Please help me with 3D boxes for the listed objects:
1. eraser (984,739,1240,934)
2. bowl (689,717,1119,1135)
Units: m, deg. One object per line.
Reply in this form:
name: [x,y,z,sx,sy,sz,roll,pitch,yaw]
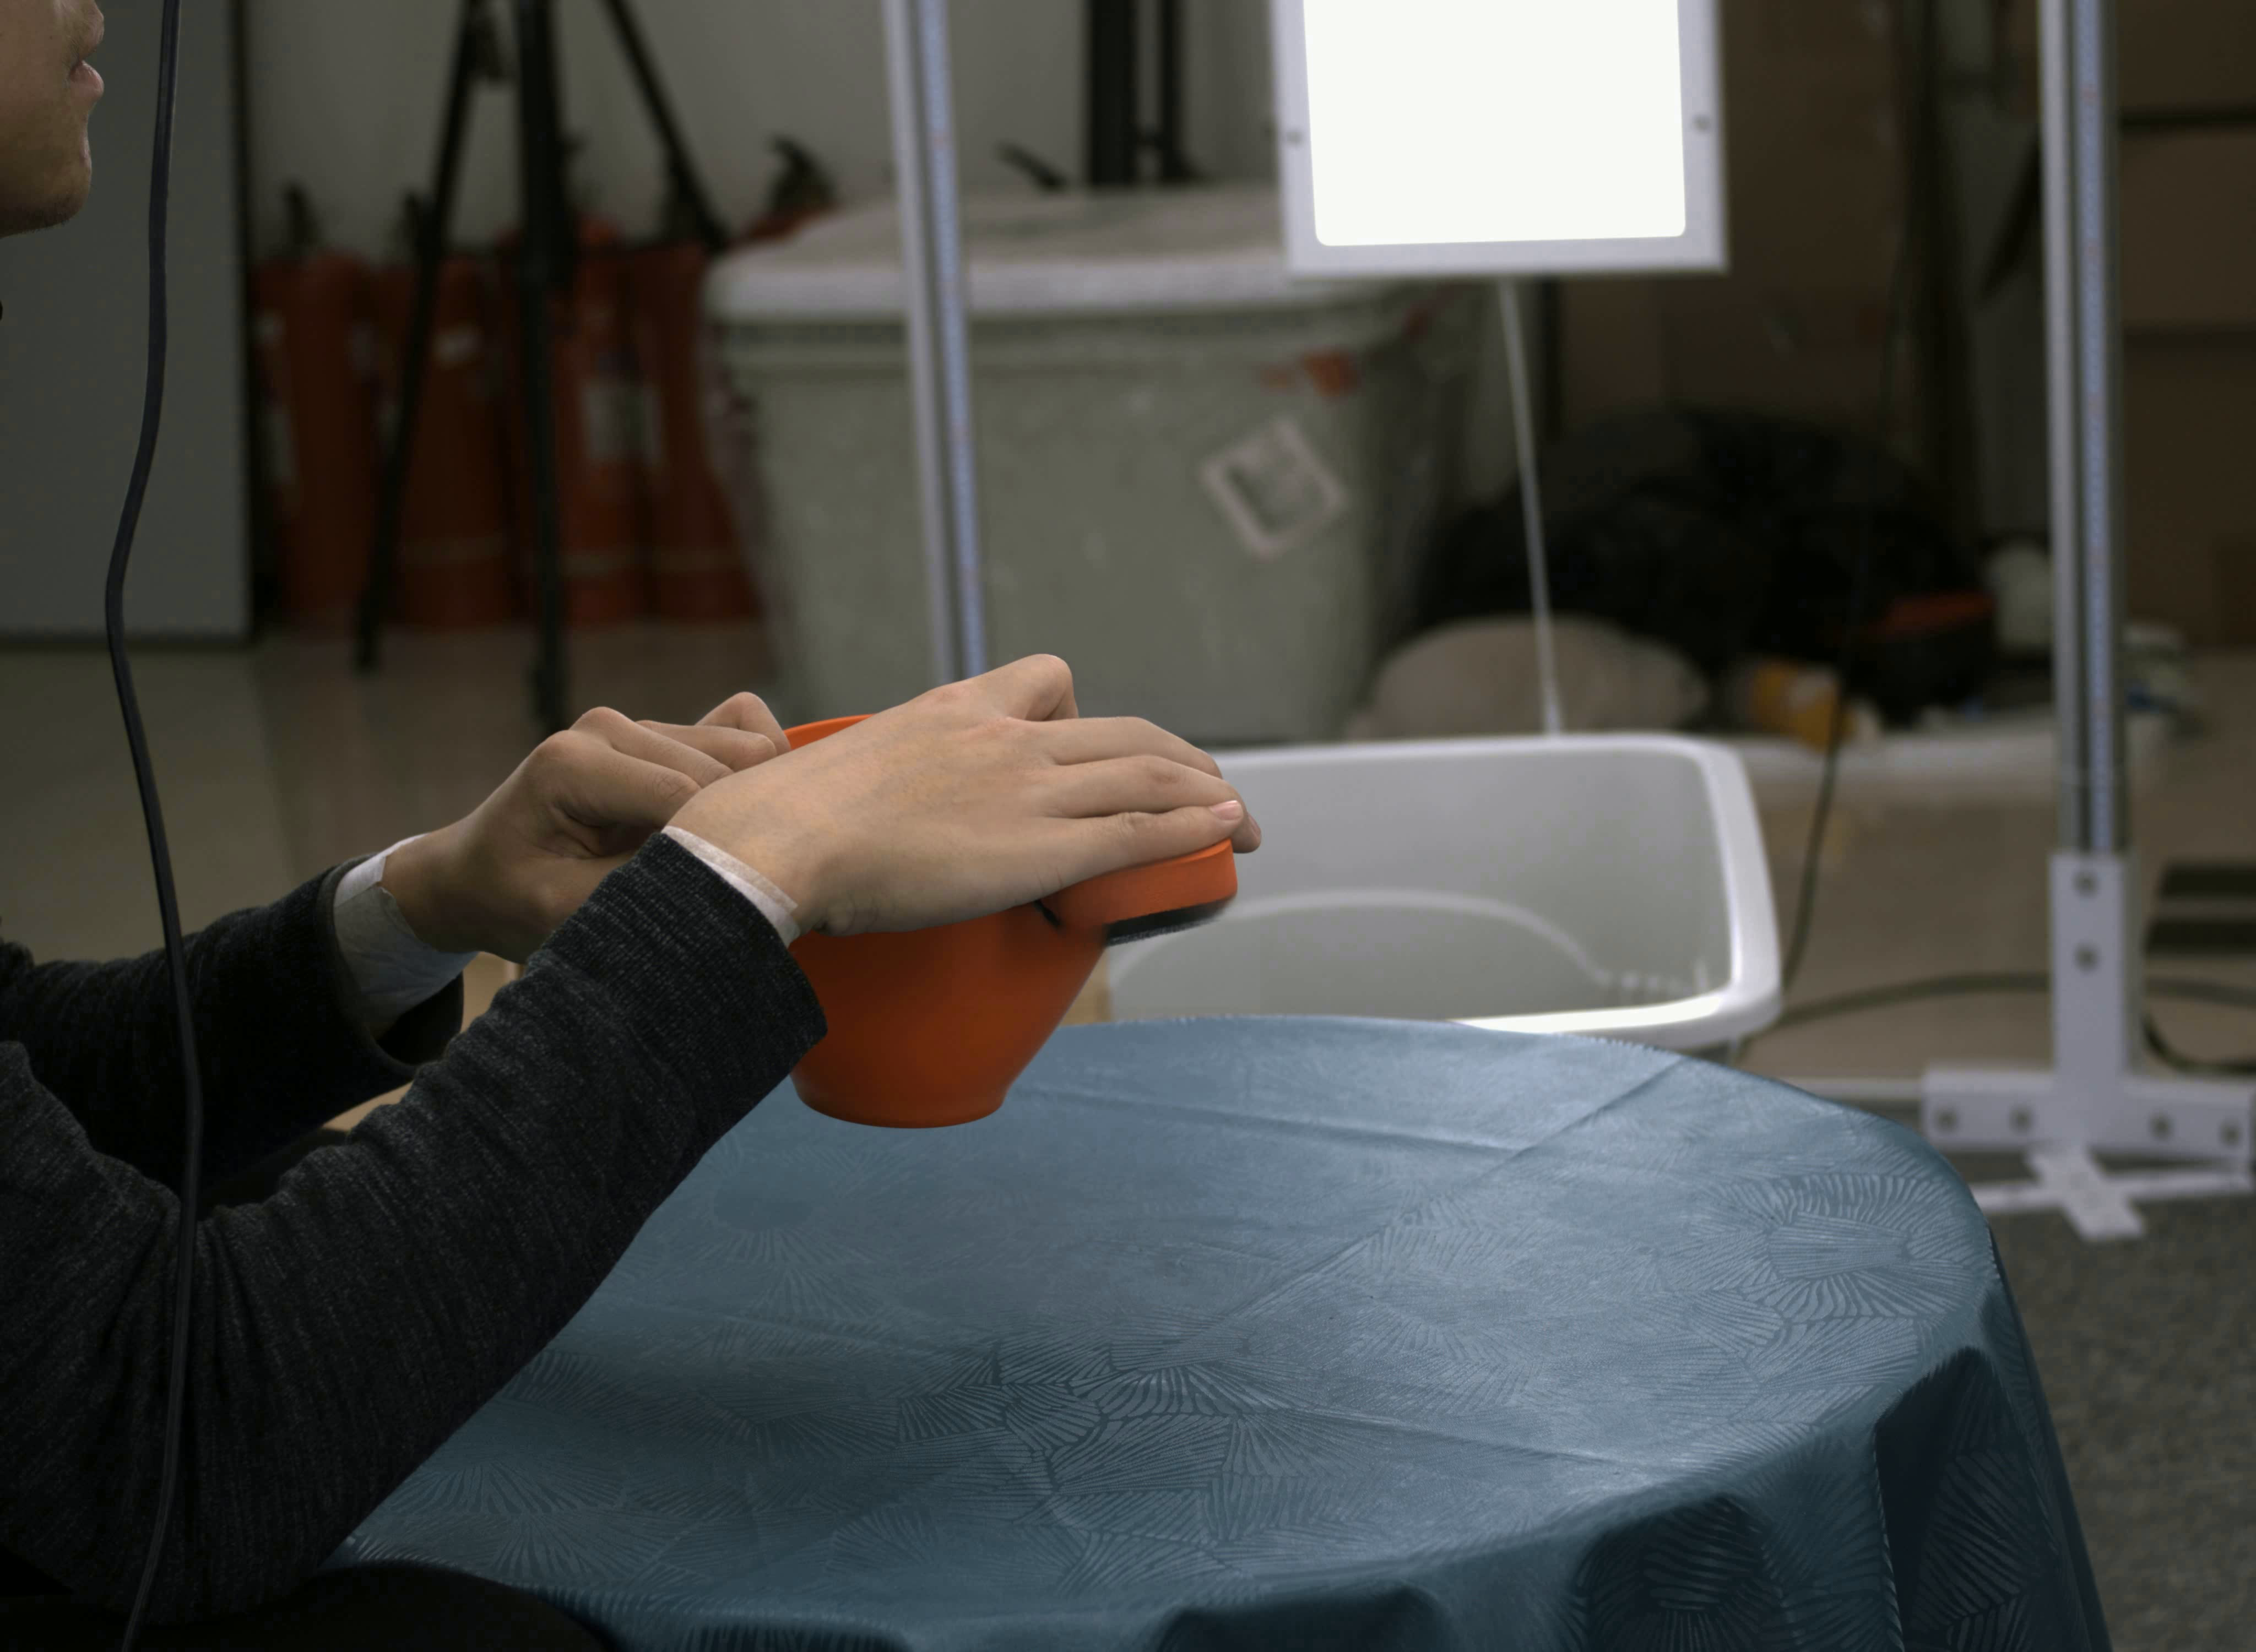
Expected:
eraser: [-0.005,0.002,1.689,0.058,0.023,0.109,-12,19,-10]
bowl: [-0.068,0.035,1.756,0.147,0.105,0.148,2,17,-2]
